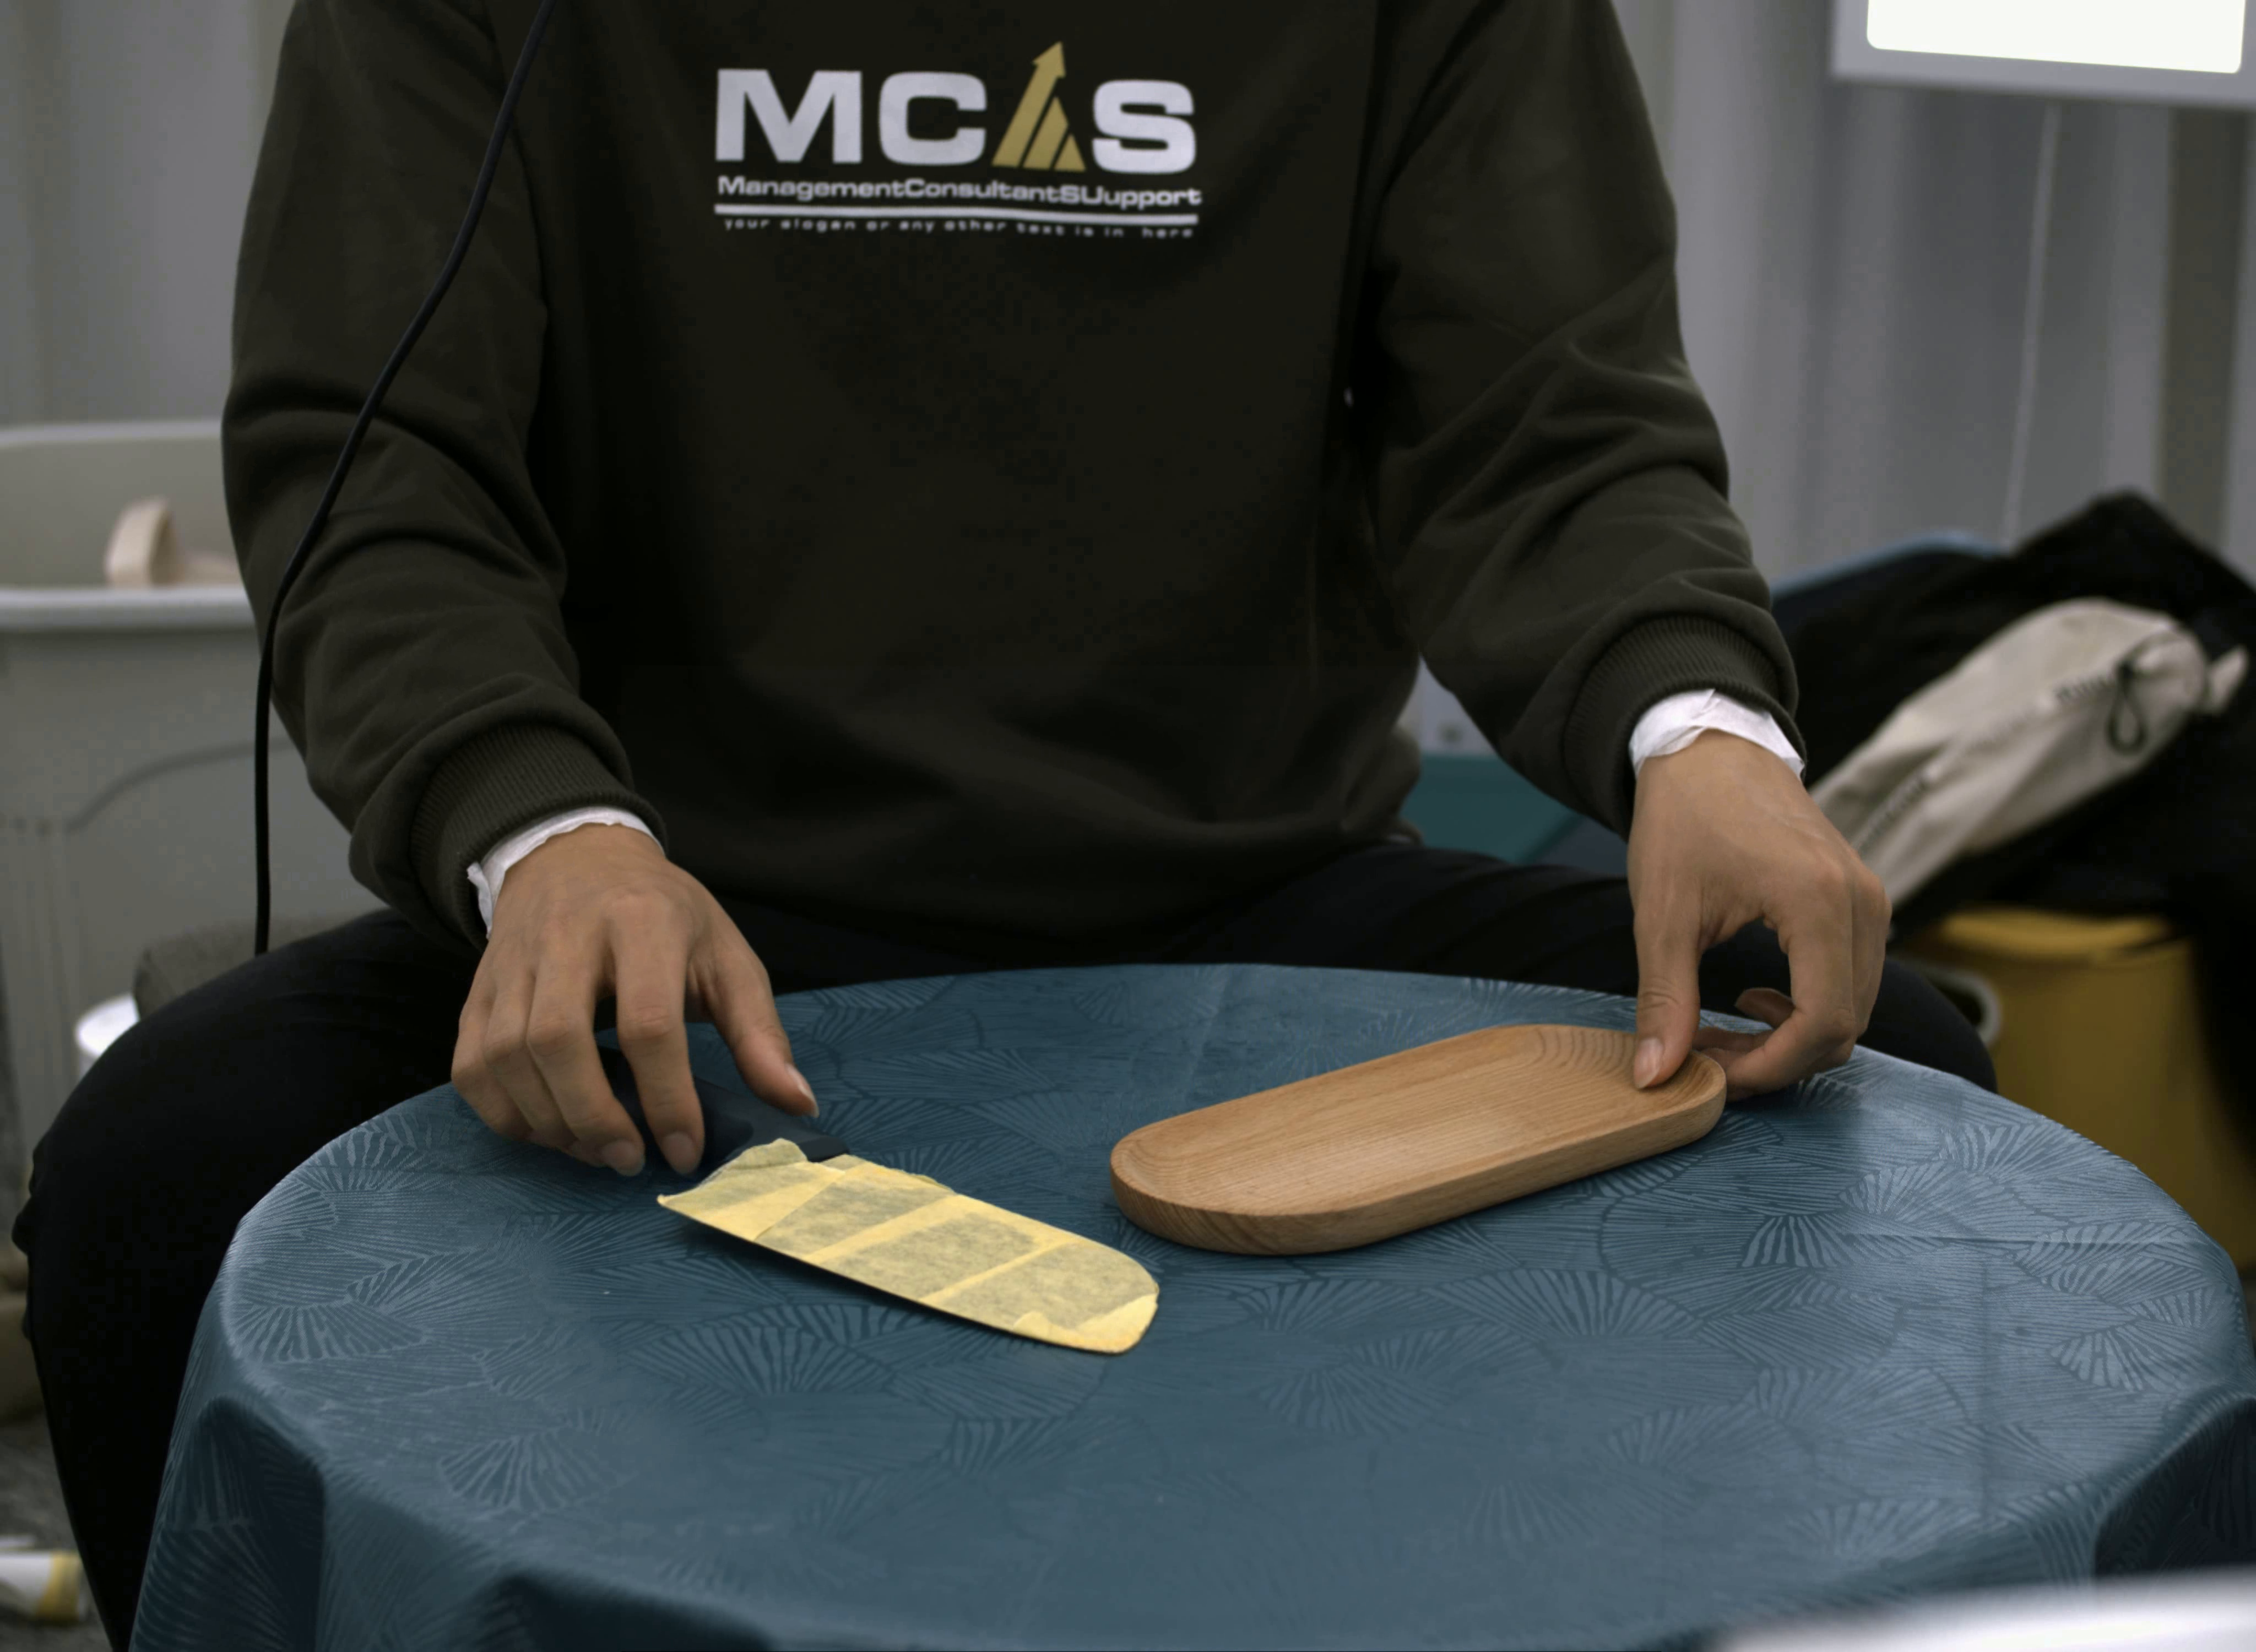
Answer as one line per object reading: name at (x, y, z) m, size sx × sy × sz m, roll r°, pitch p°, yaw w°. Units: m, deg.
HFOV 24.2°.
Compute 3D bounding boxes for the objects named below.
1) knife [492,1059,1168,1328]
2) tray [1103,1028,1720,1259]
knife at (-0.100, 0.113, 1.592) m, size 0.285 × 0.027 × 0.081 m, roll 15°, pitch 18°, yaw 39°
tray at (0.091, 0.098, 1.650) m, size 0.232 × 0.020 × 0.100 m, roll -15°, pitch 20°, yaw -41°
